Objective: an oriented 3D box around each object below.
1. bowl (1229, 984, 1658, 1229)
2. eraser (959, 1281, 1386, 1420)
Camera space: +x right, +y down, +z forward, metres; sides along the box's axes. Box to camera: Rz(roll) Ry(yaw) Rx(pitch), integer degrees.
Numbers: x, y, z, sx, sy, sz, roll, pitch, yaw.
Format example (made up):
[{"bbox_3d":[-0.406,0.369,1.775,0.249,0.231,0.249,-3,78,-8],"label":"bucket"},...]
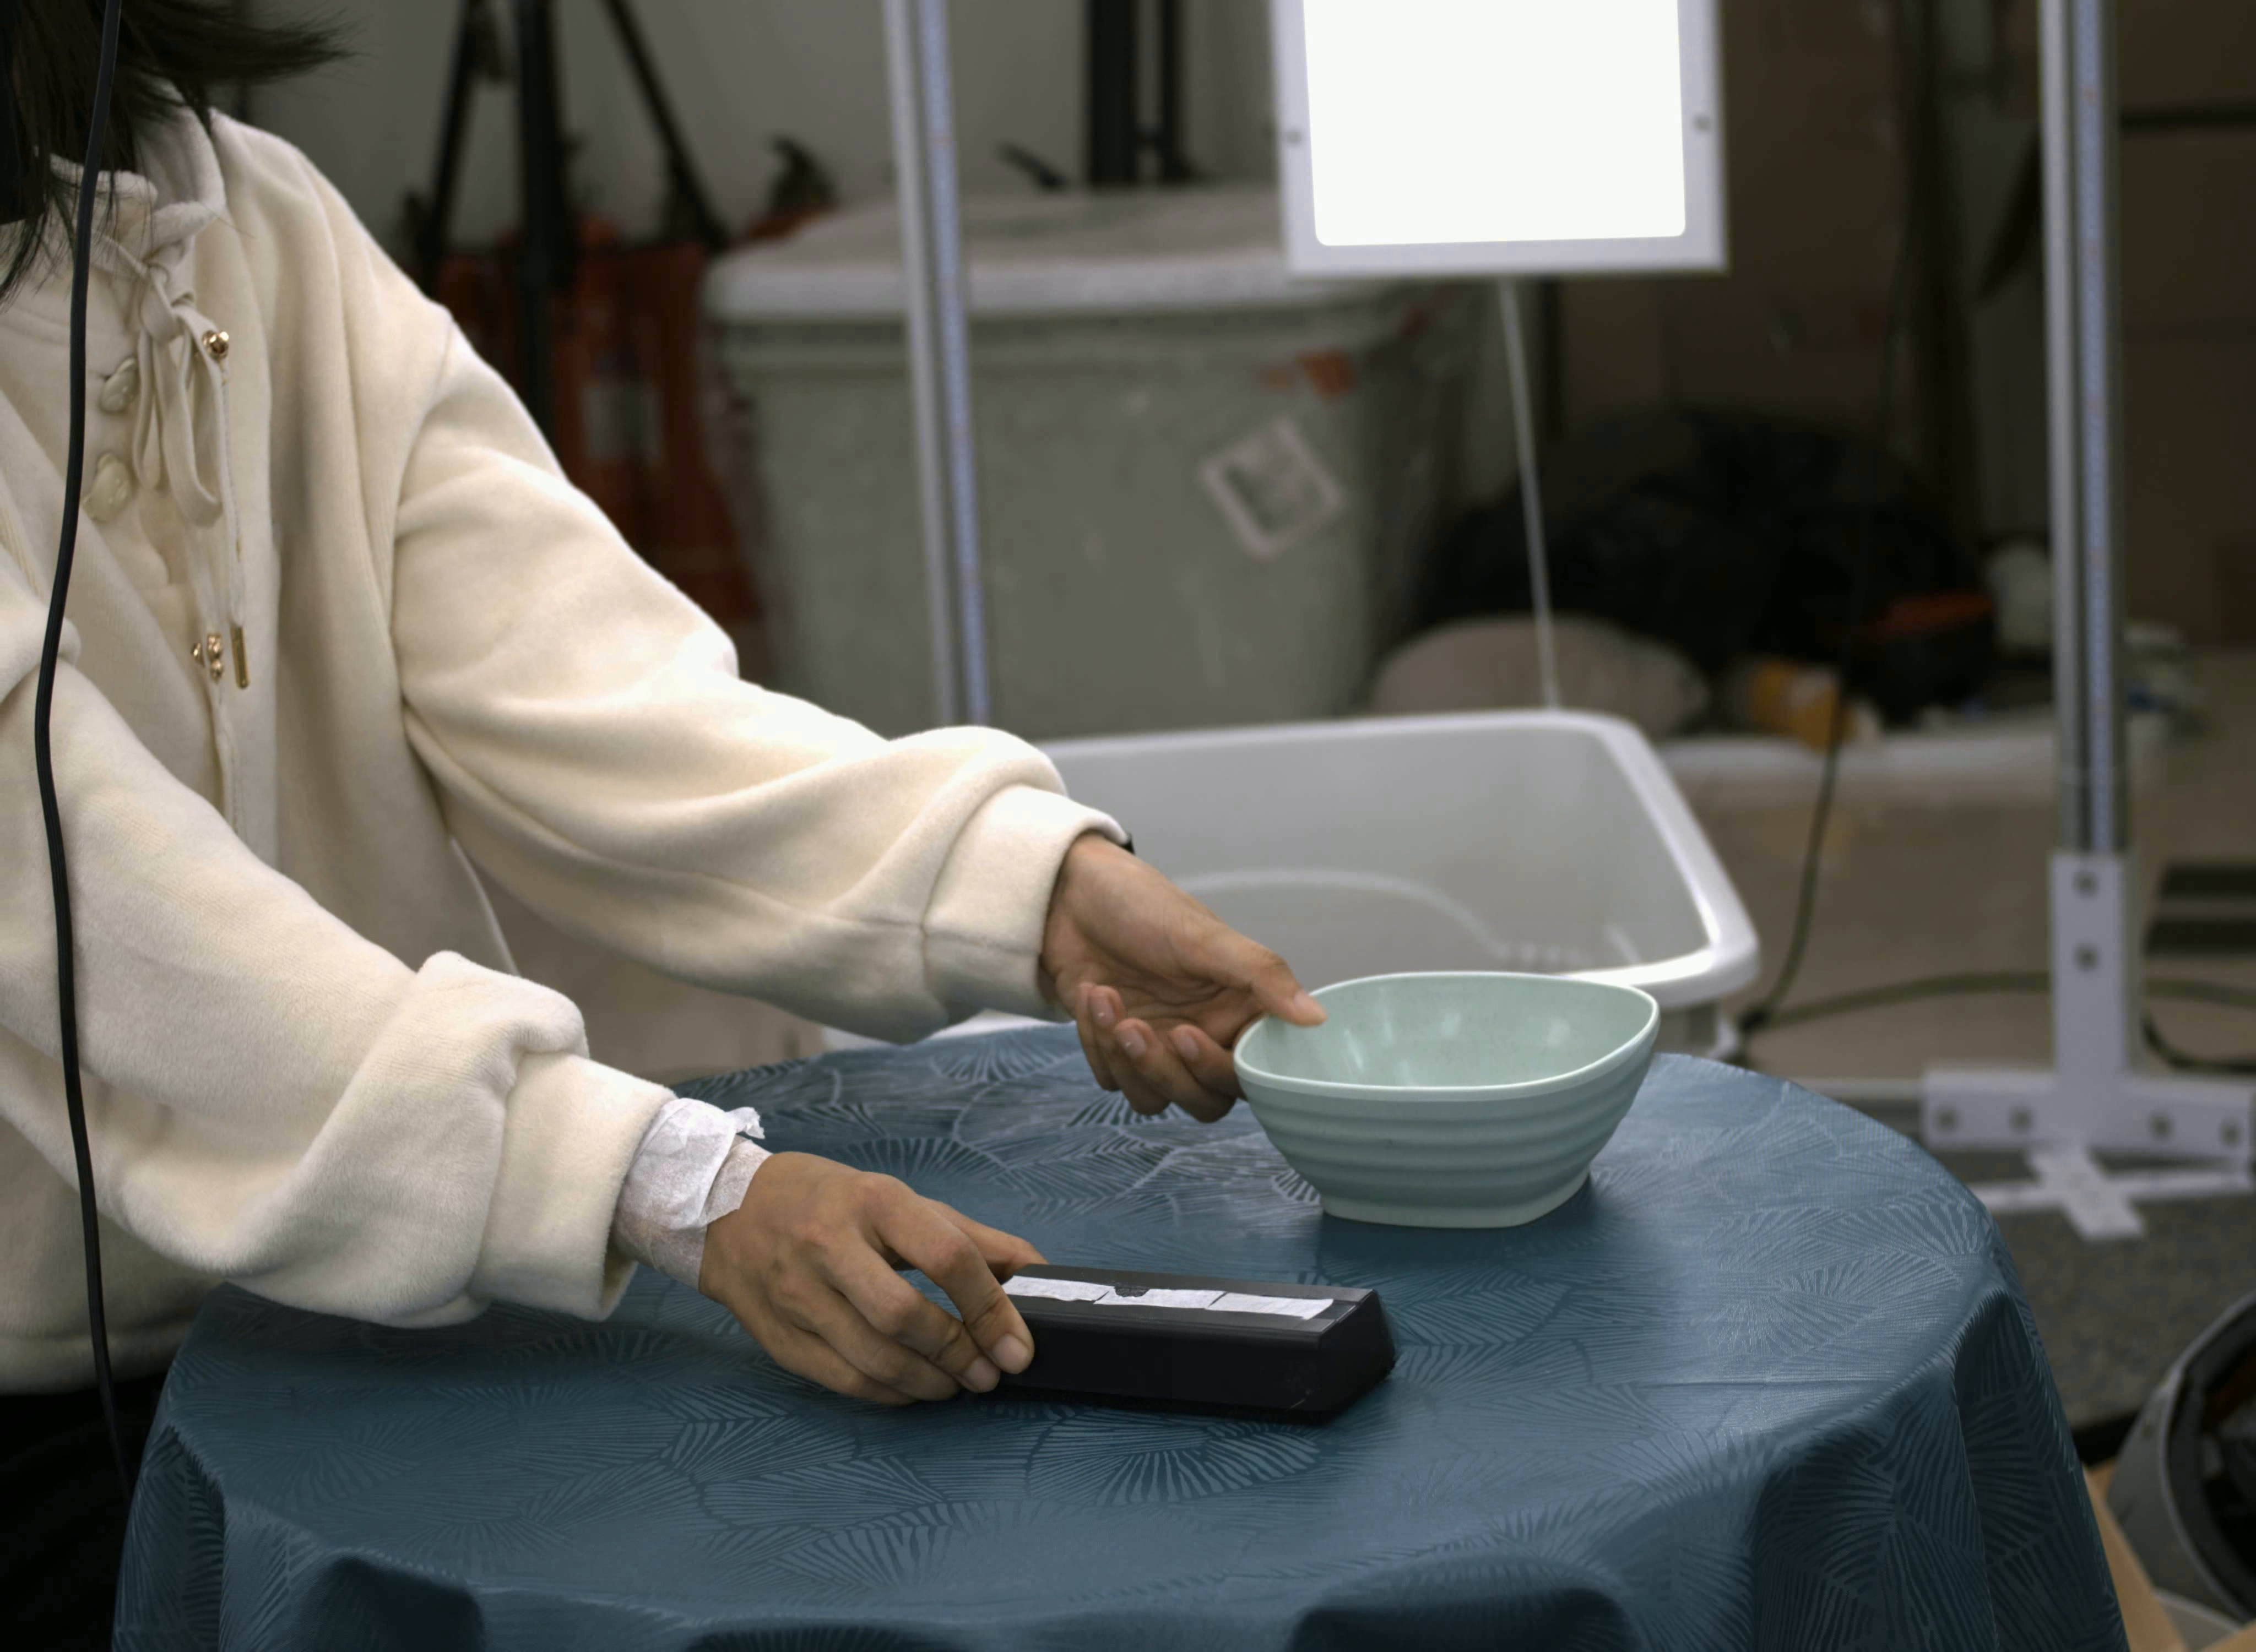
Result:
[{"bbox_3d":[0.109,0.097,1.861,0.151,0.059,0.151,-3,11,-1],"label":"bowl"},{"bbox_3d":[0.015,0.161,1.697,0.127,0.030,0.052,-1,12,26],"label":"eraser"}]
